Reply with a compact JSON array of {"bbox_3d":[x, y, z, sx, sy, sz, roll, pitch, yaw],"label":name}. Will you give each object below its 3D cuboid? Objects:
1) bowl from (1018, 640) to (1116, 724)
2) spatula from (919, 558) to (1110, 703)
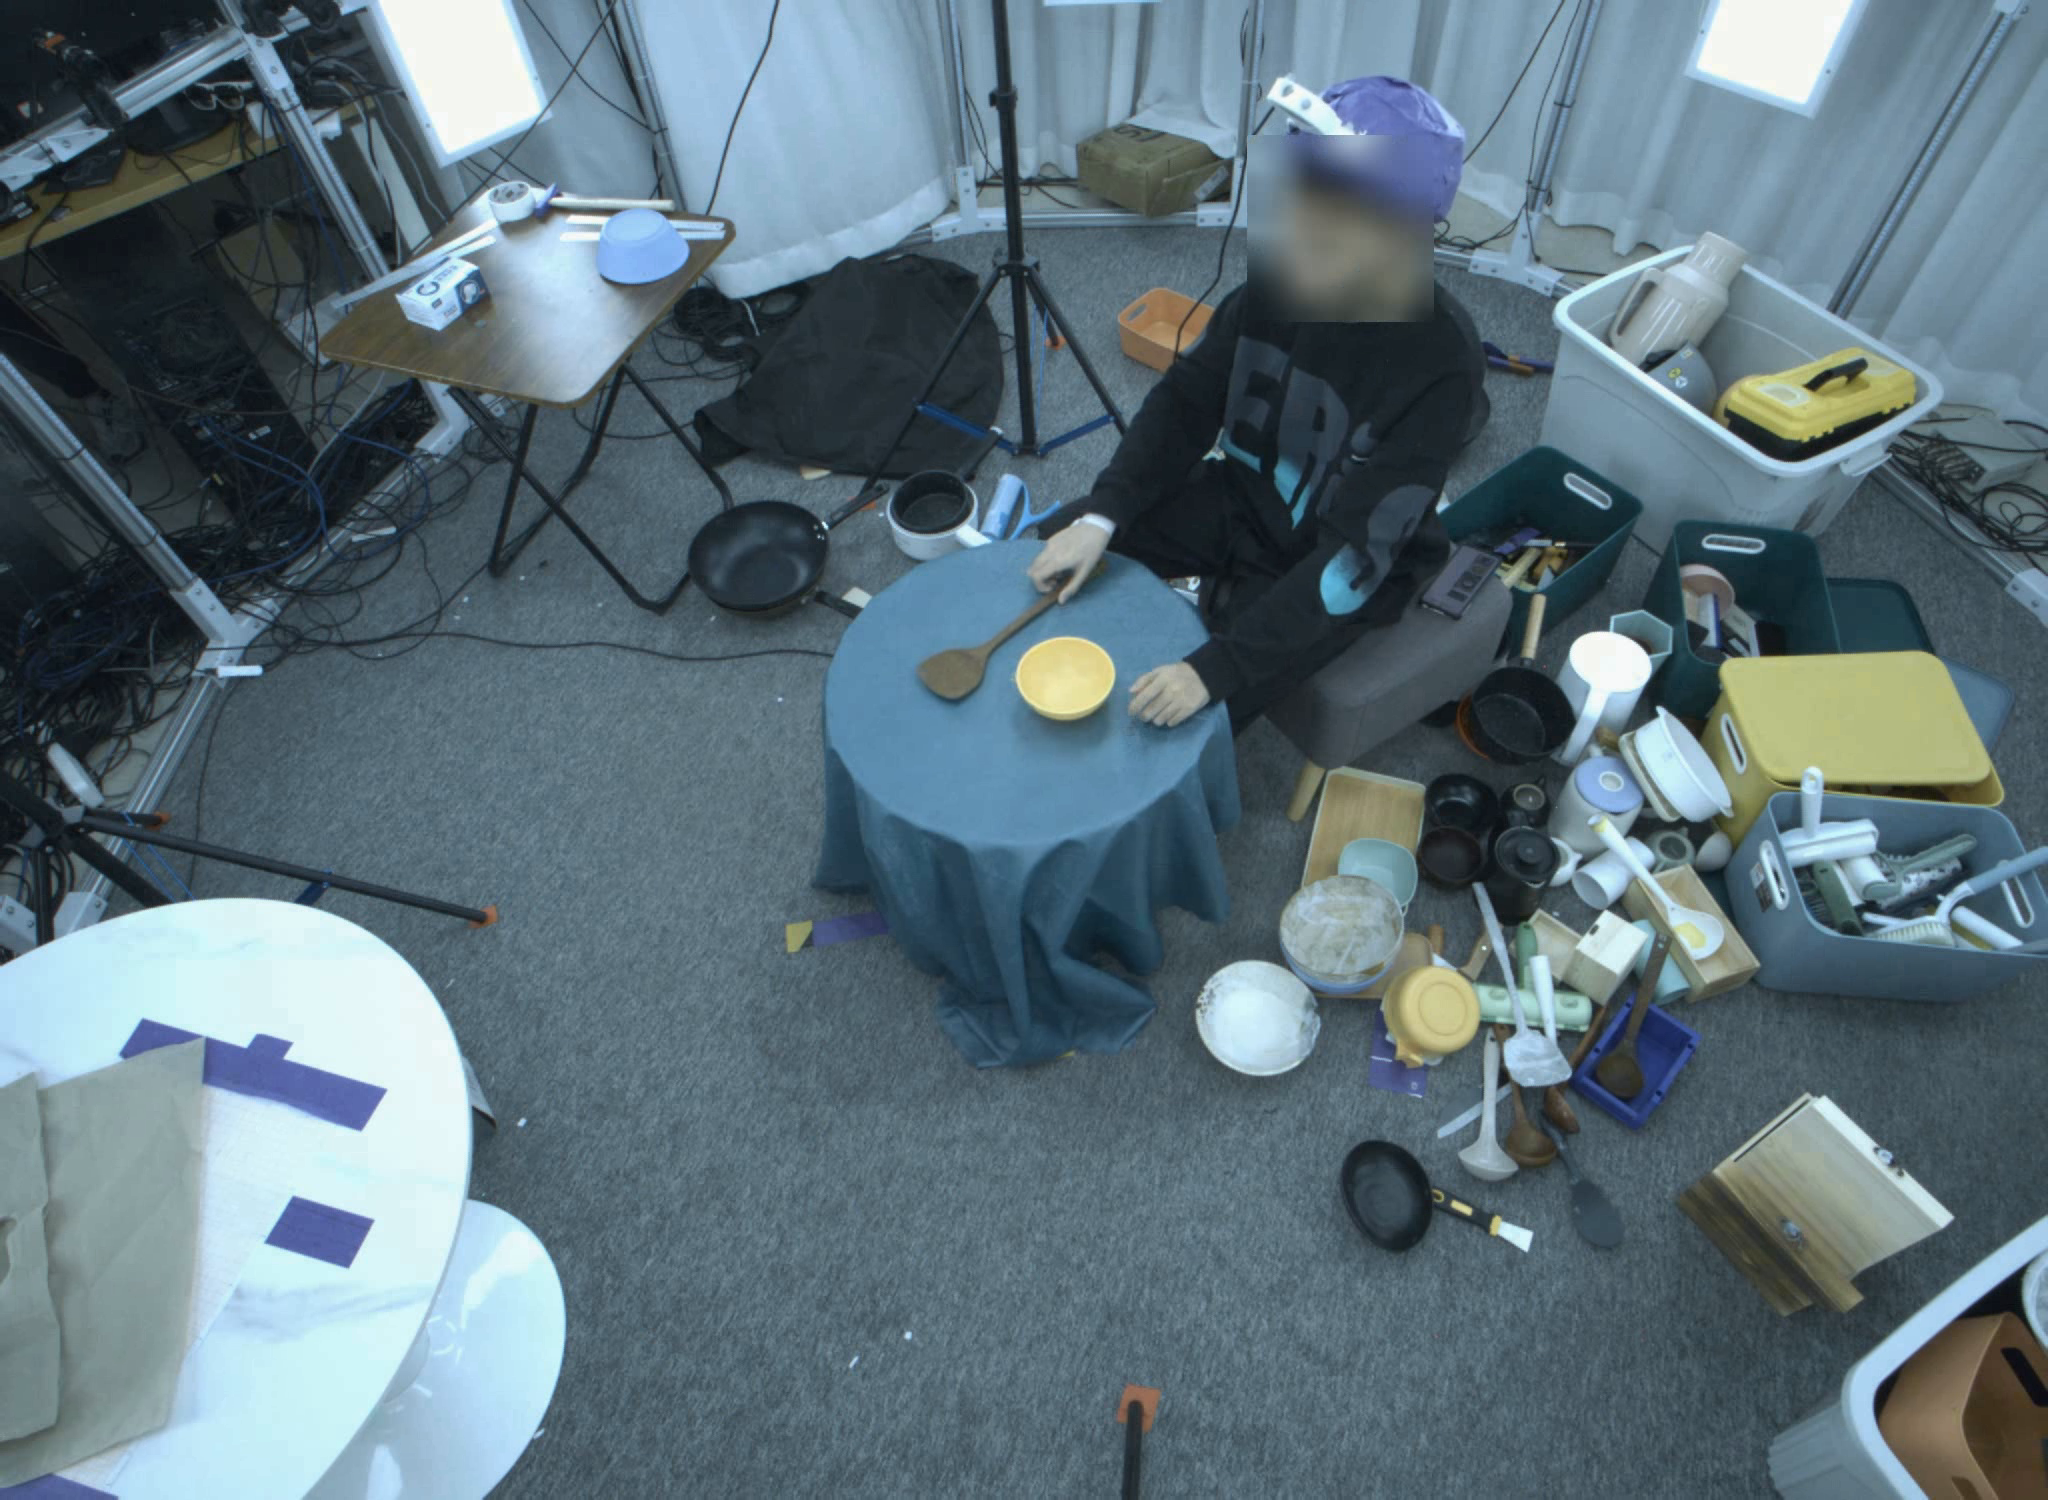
[{"bbox_3d":[0.063,-0.089,1.825,0.145,0.060,0.144,1,56,0],"label":"bowl"},{"bbox_3d":[-0.002,-0.199,1.929,0.388,0.016,0.094,-40,63,-23],"label":"spatula"}]
